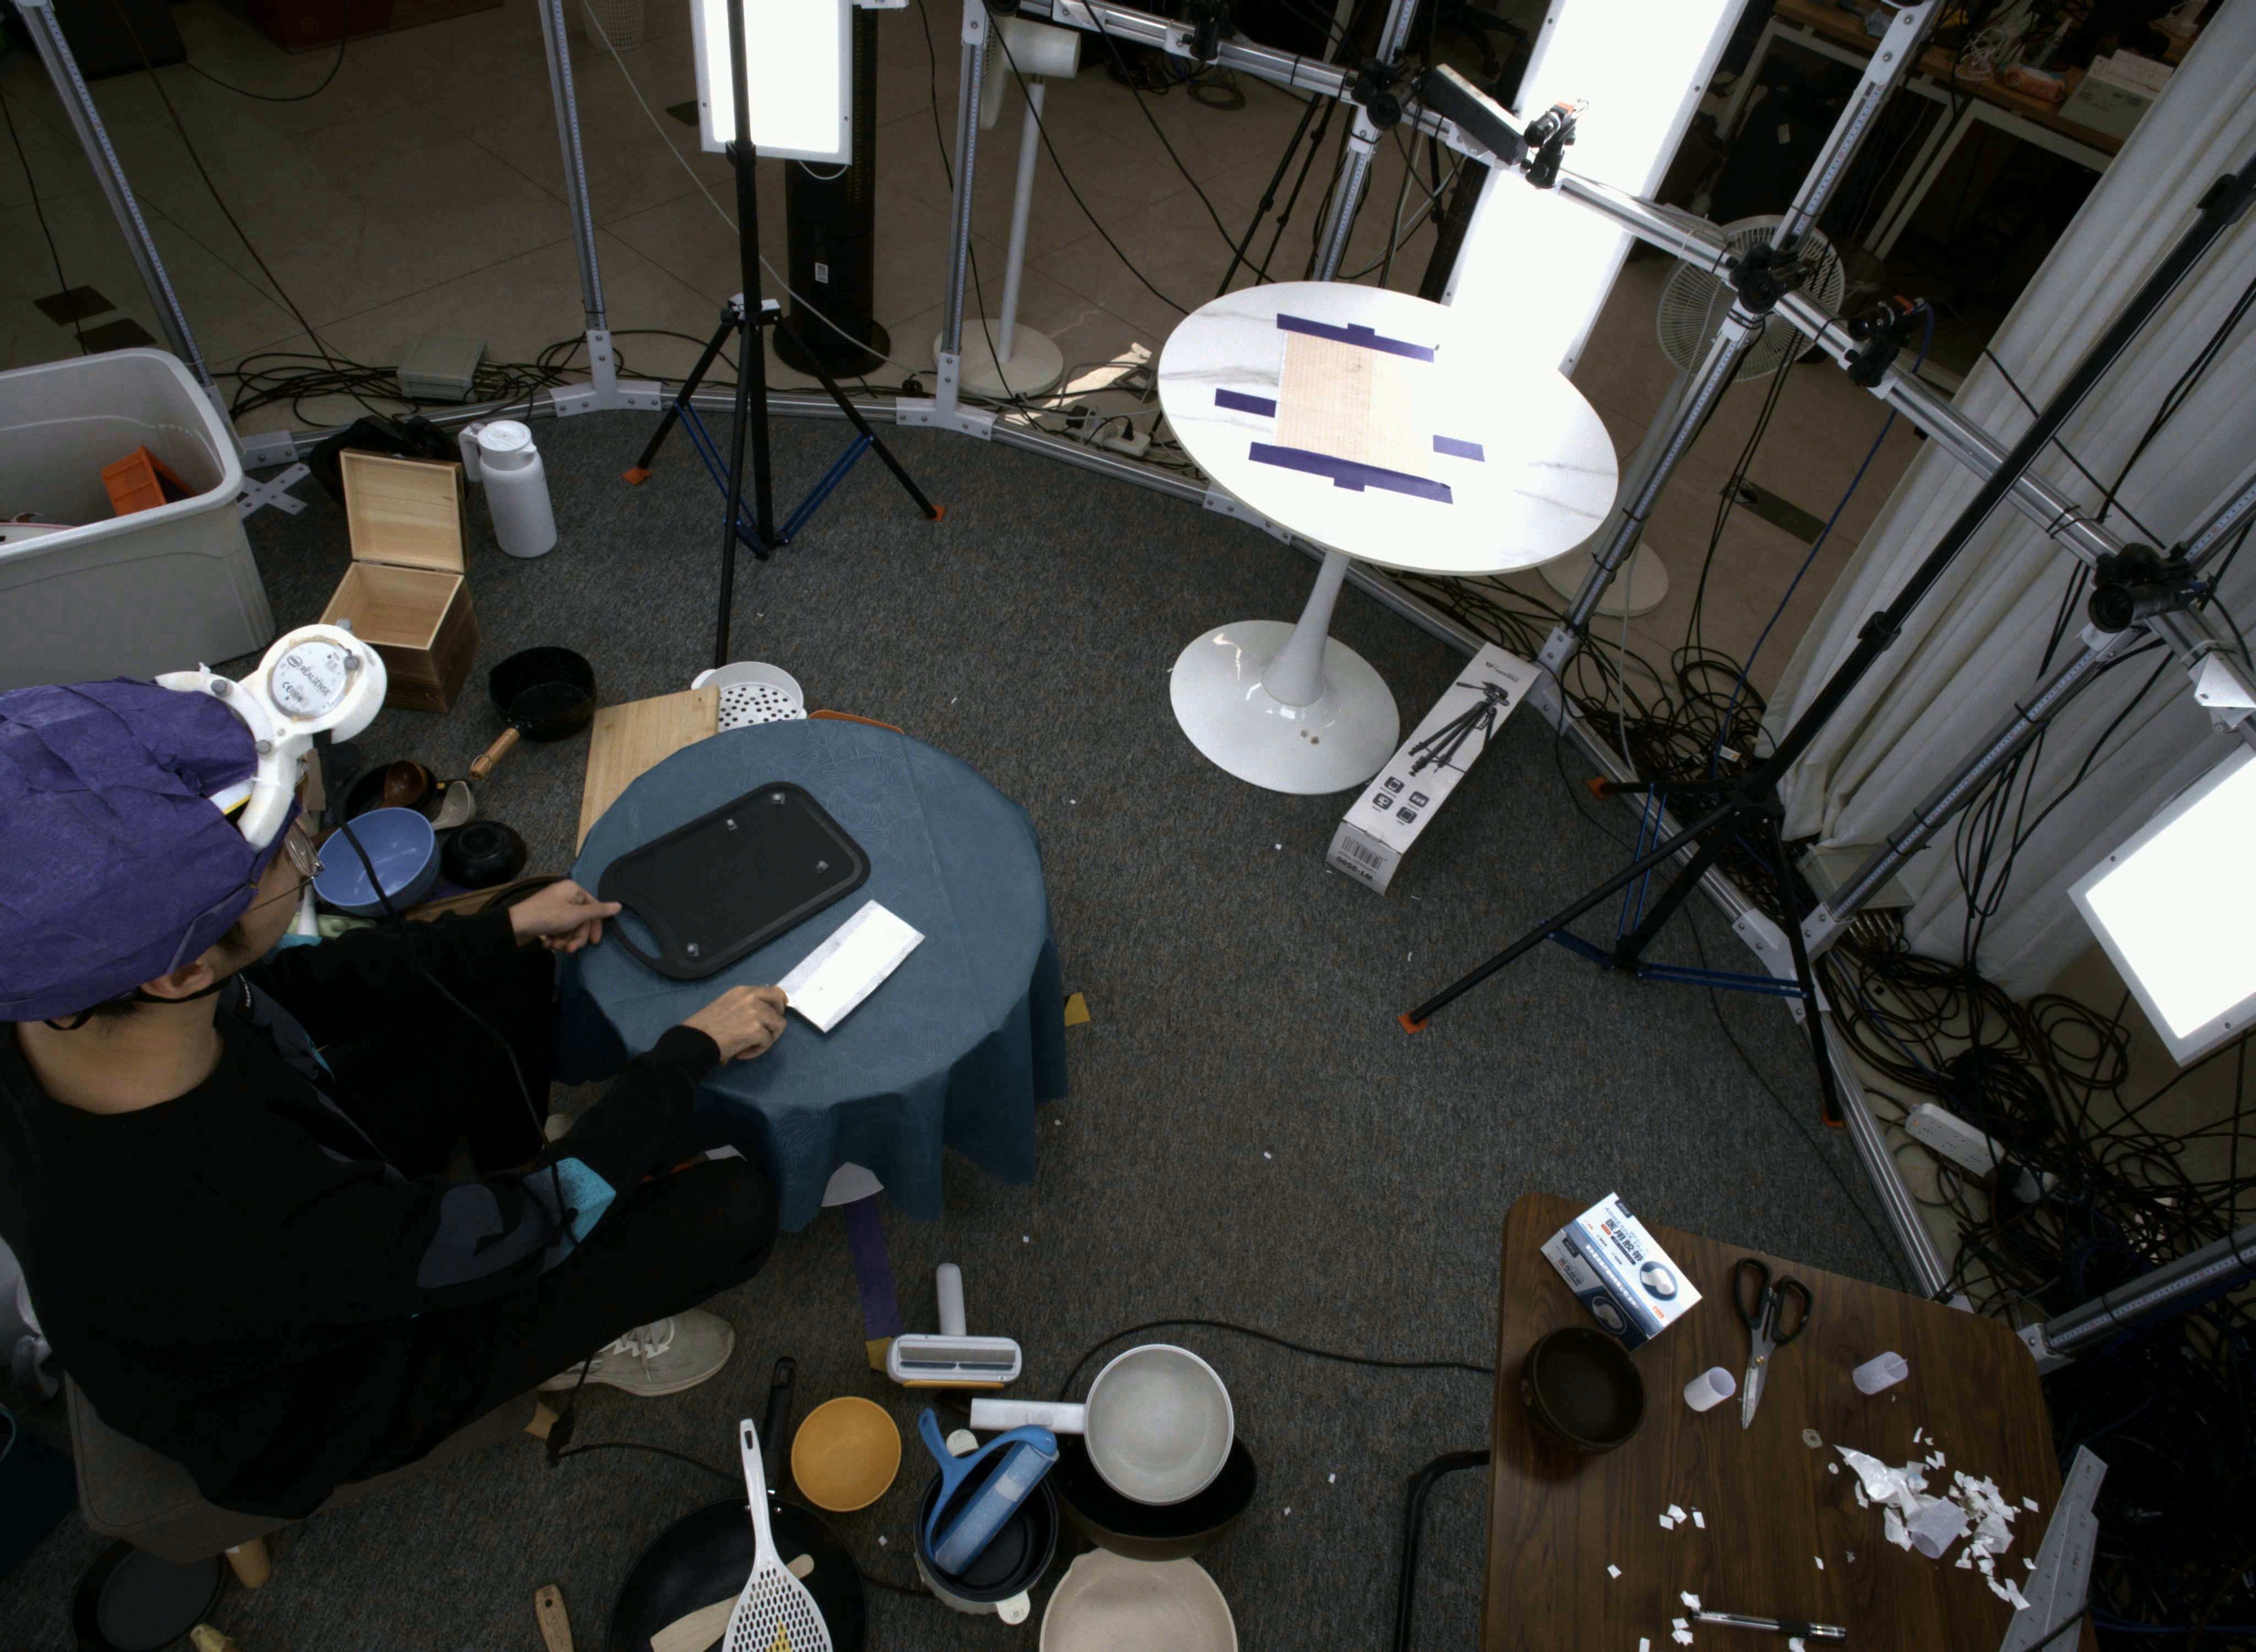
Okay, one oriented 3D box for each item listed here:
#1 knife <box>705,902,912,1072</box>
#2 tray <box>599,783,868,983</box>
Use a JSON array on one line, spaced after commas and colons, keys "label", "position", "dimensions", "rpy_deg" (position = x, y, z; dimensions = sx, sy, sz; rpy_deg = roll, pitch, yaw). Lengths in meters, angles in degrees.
[{"label": "knife", "position": [-0.373, 0.197, 1.560], "dimensions": [0.091, 0.021, 0.305], "rpy_deg": [34, 47, 11]}, {"label": "tray", "position": [-0.502, 0.066, 1.630], "dimensions": [0.206, 0.010, 0.326], "rpy_deg": [44, 53, 17]}]
